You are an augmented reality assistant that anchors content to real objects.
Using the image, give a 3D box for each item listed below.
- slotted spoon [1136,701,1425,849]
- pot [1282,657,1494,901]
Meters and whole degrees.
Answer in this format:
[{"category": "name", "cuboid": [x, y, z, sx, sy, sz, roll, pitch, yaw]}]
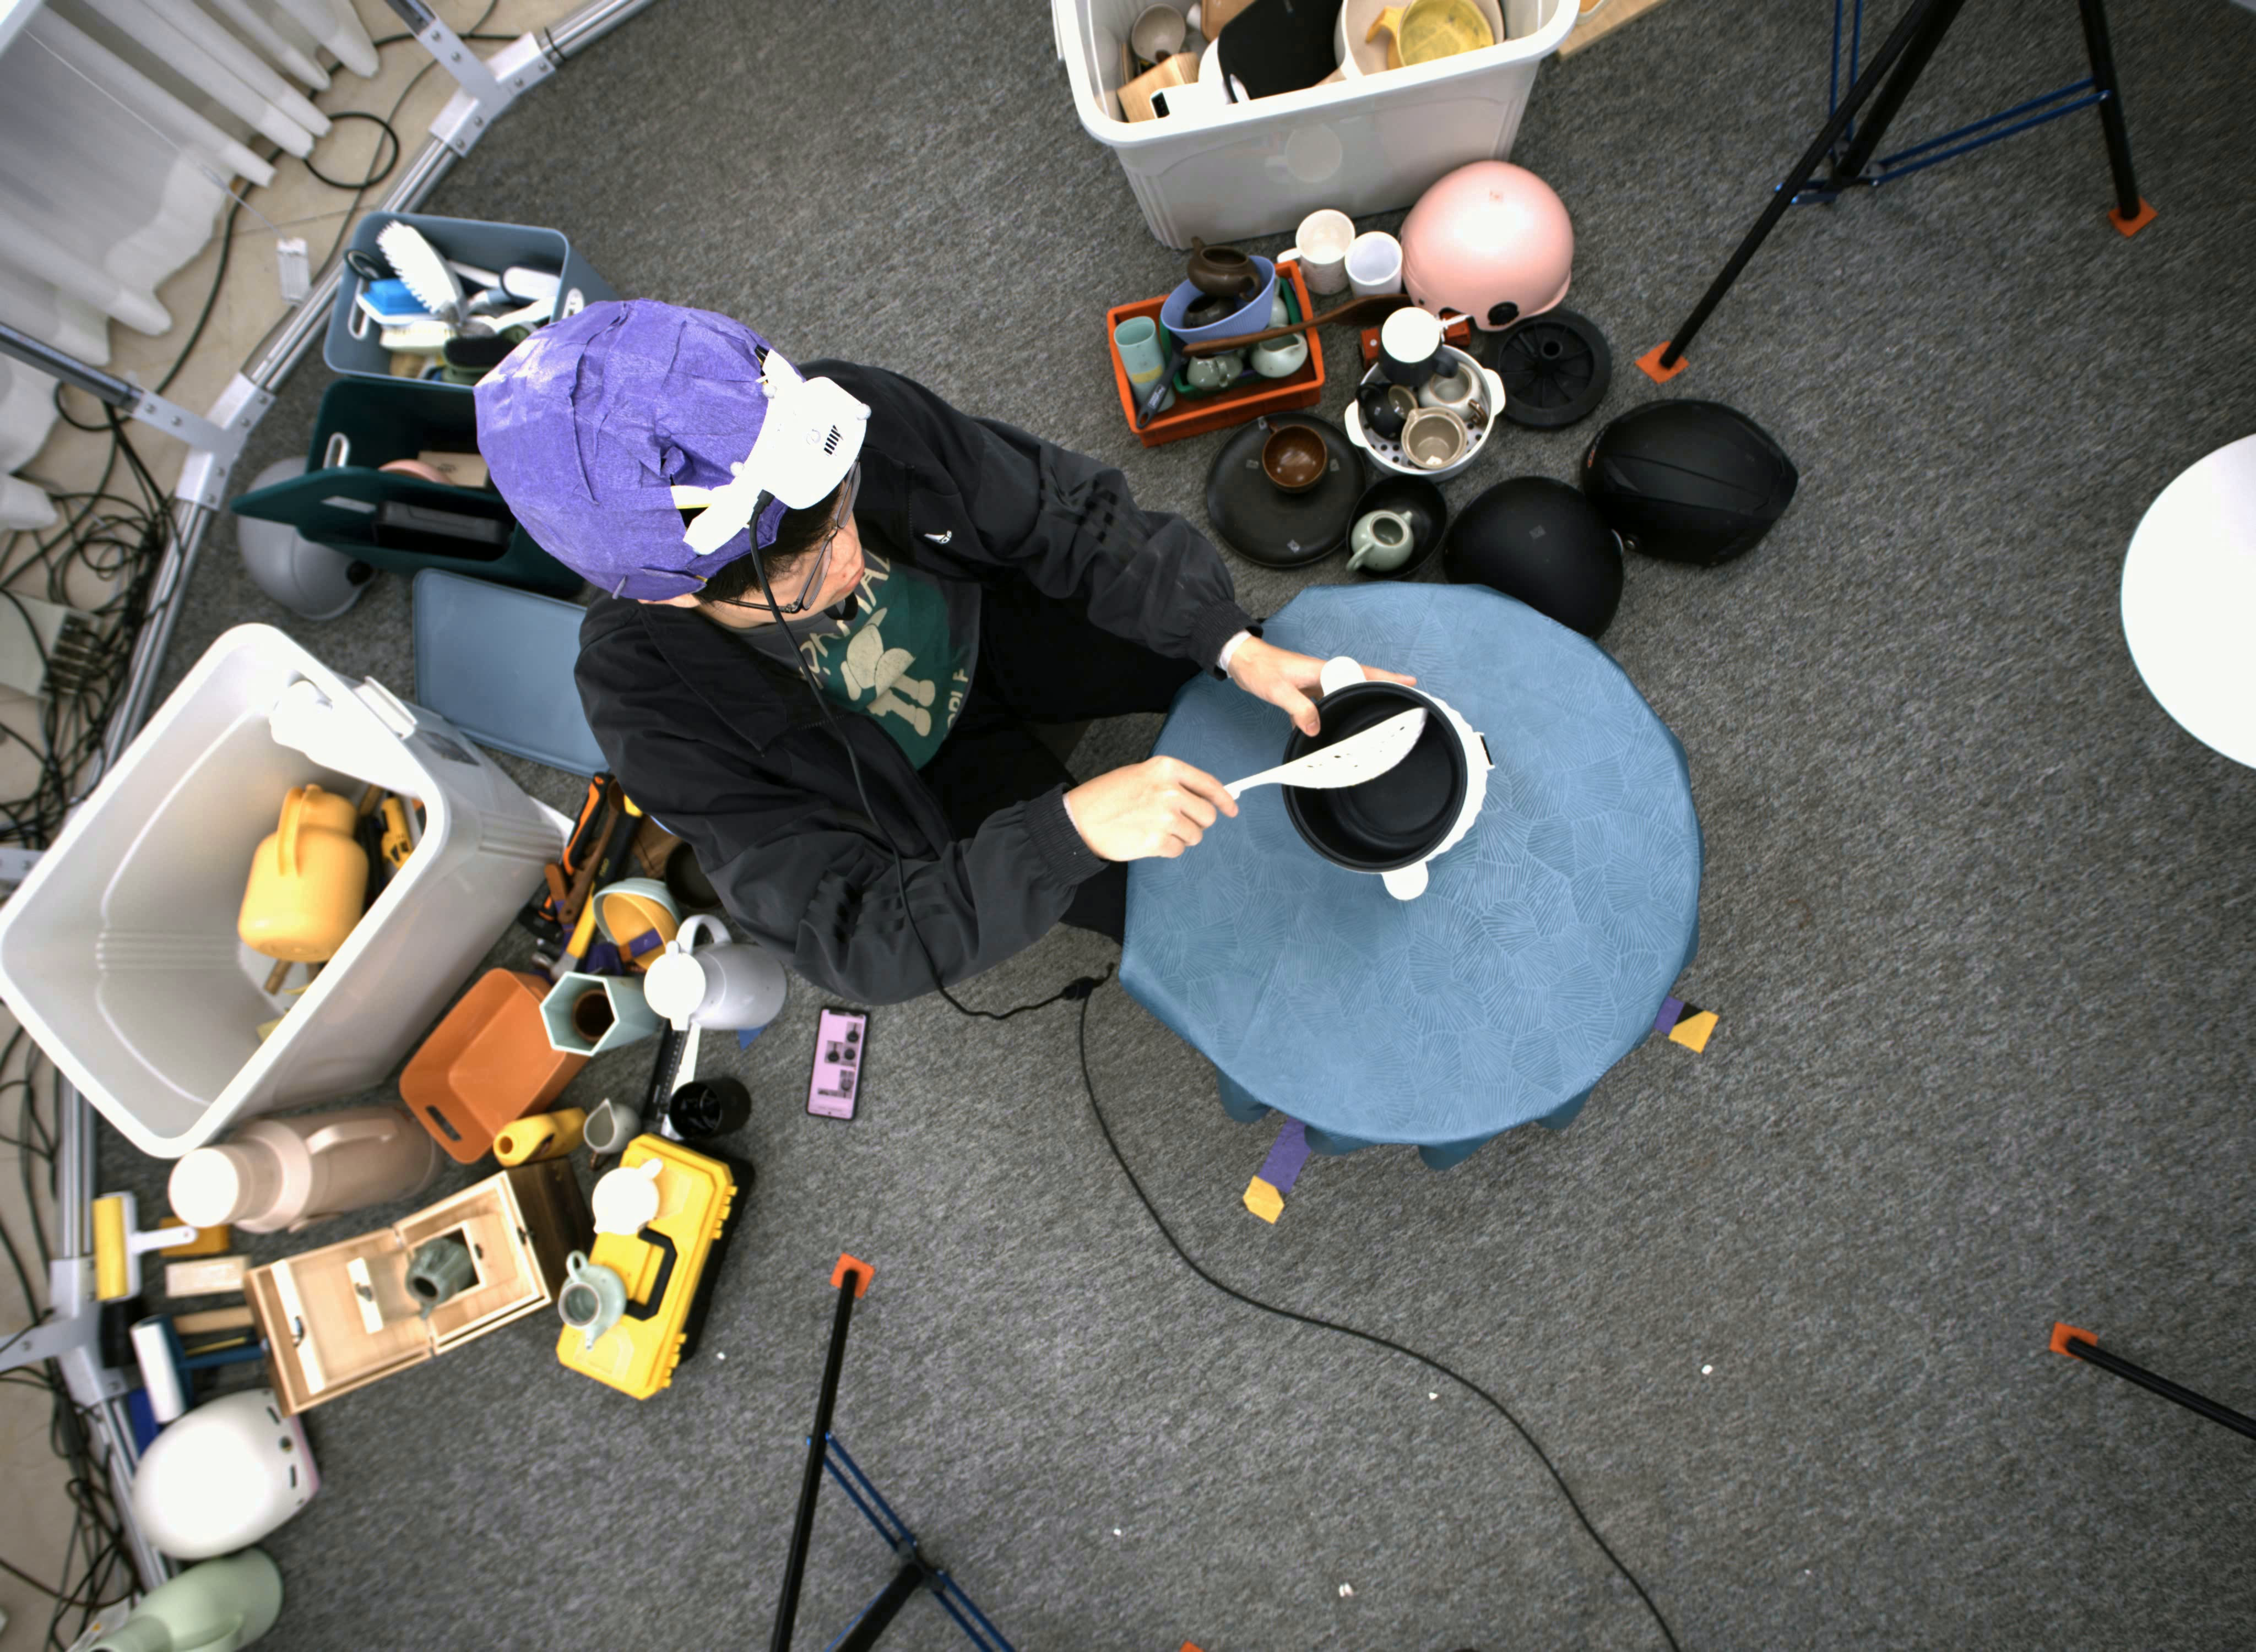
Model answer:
[{"category": "slotted spoon", "cuboid": [0.138, -0.042, 1.254, 0.344, 0.139, 0.050, -16, 79, -31]}, {"category": "pot", "cuboid": [0.254, -0.045, 1.350, 0.193, 0.141, 0.239, -19, 84, 24]}]
